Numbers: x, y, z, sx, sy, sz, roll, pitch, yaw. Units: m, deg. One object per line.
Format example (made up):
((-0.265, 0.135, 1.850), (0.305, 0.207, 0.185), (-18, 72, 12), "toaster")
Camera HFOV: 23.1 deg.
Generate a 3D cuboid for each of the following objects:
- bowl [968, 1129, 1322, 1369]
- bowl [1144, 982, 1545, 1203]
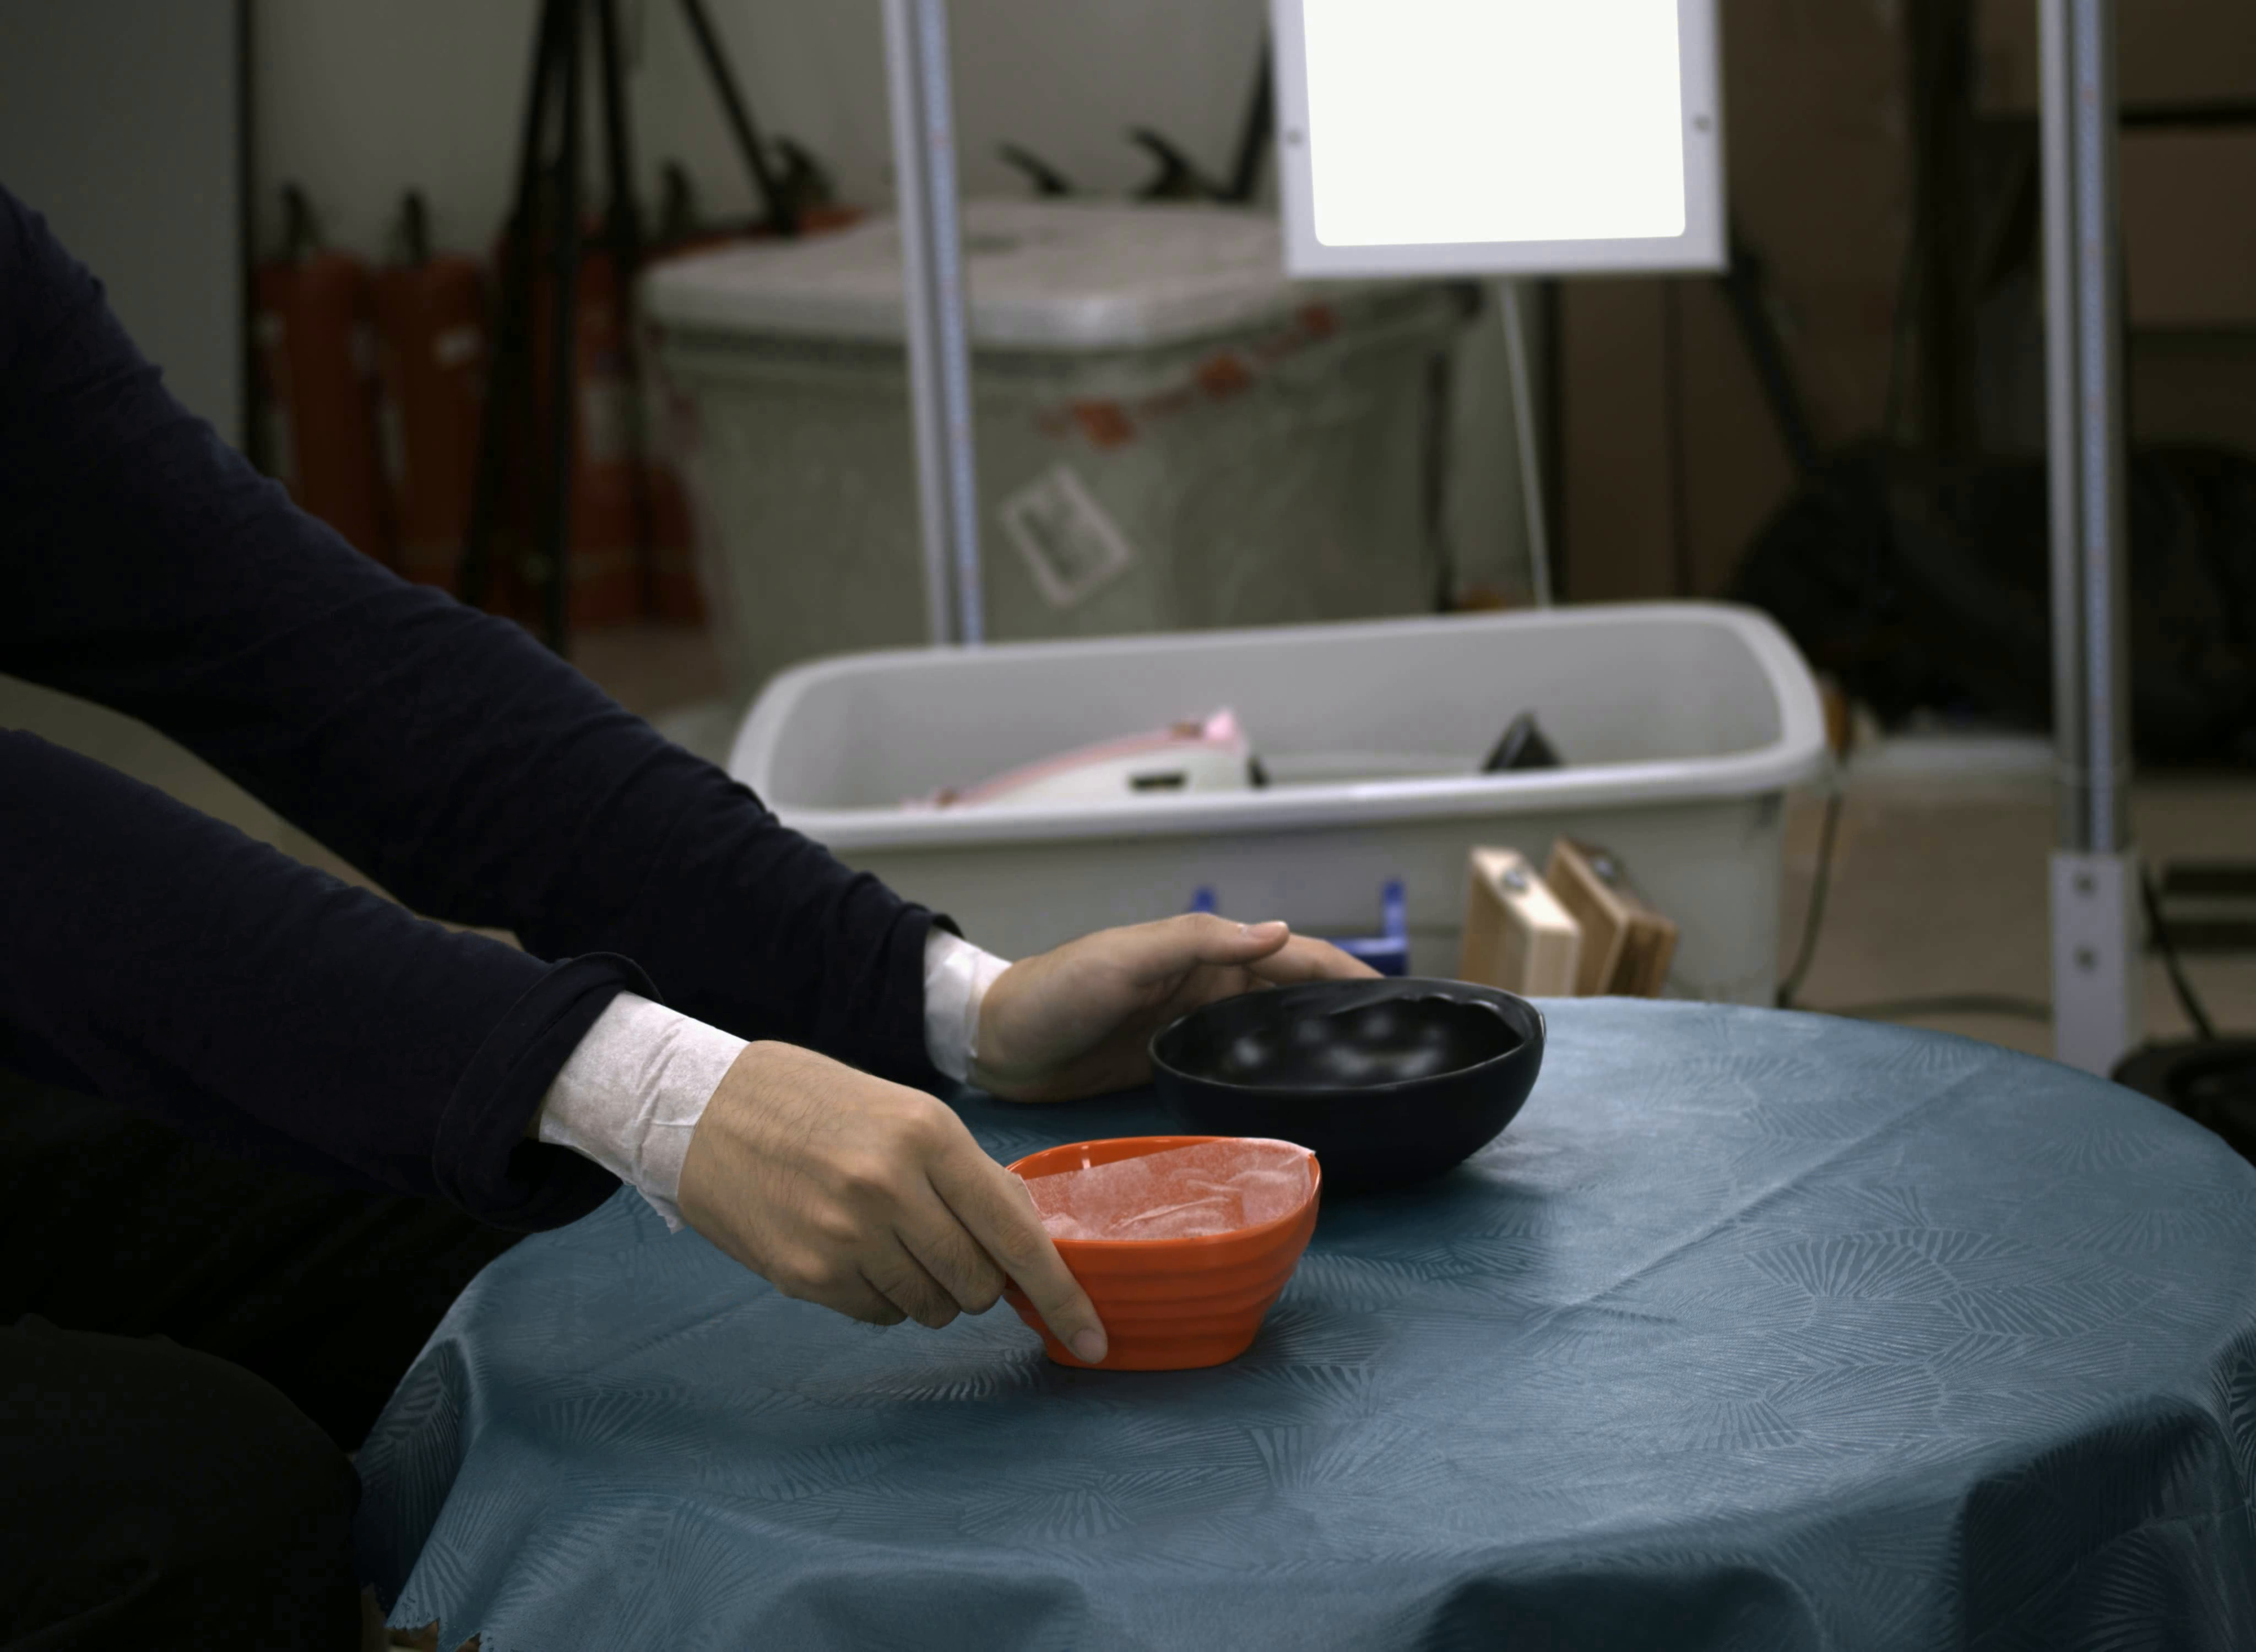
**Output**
((0.007, 0.137, 1.747), (0.118, 0.051, 0.119), (-4, 15, 0), "bowl")
((0.078, 0.096, 1.905), (0.140, 0.050, 0.140), (-9, 13, 1), "bowl")
